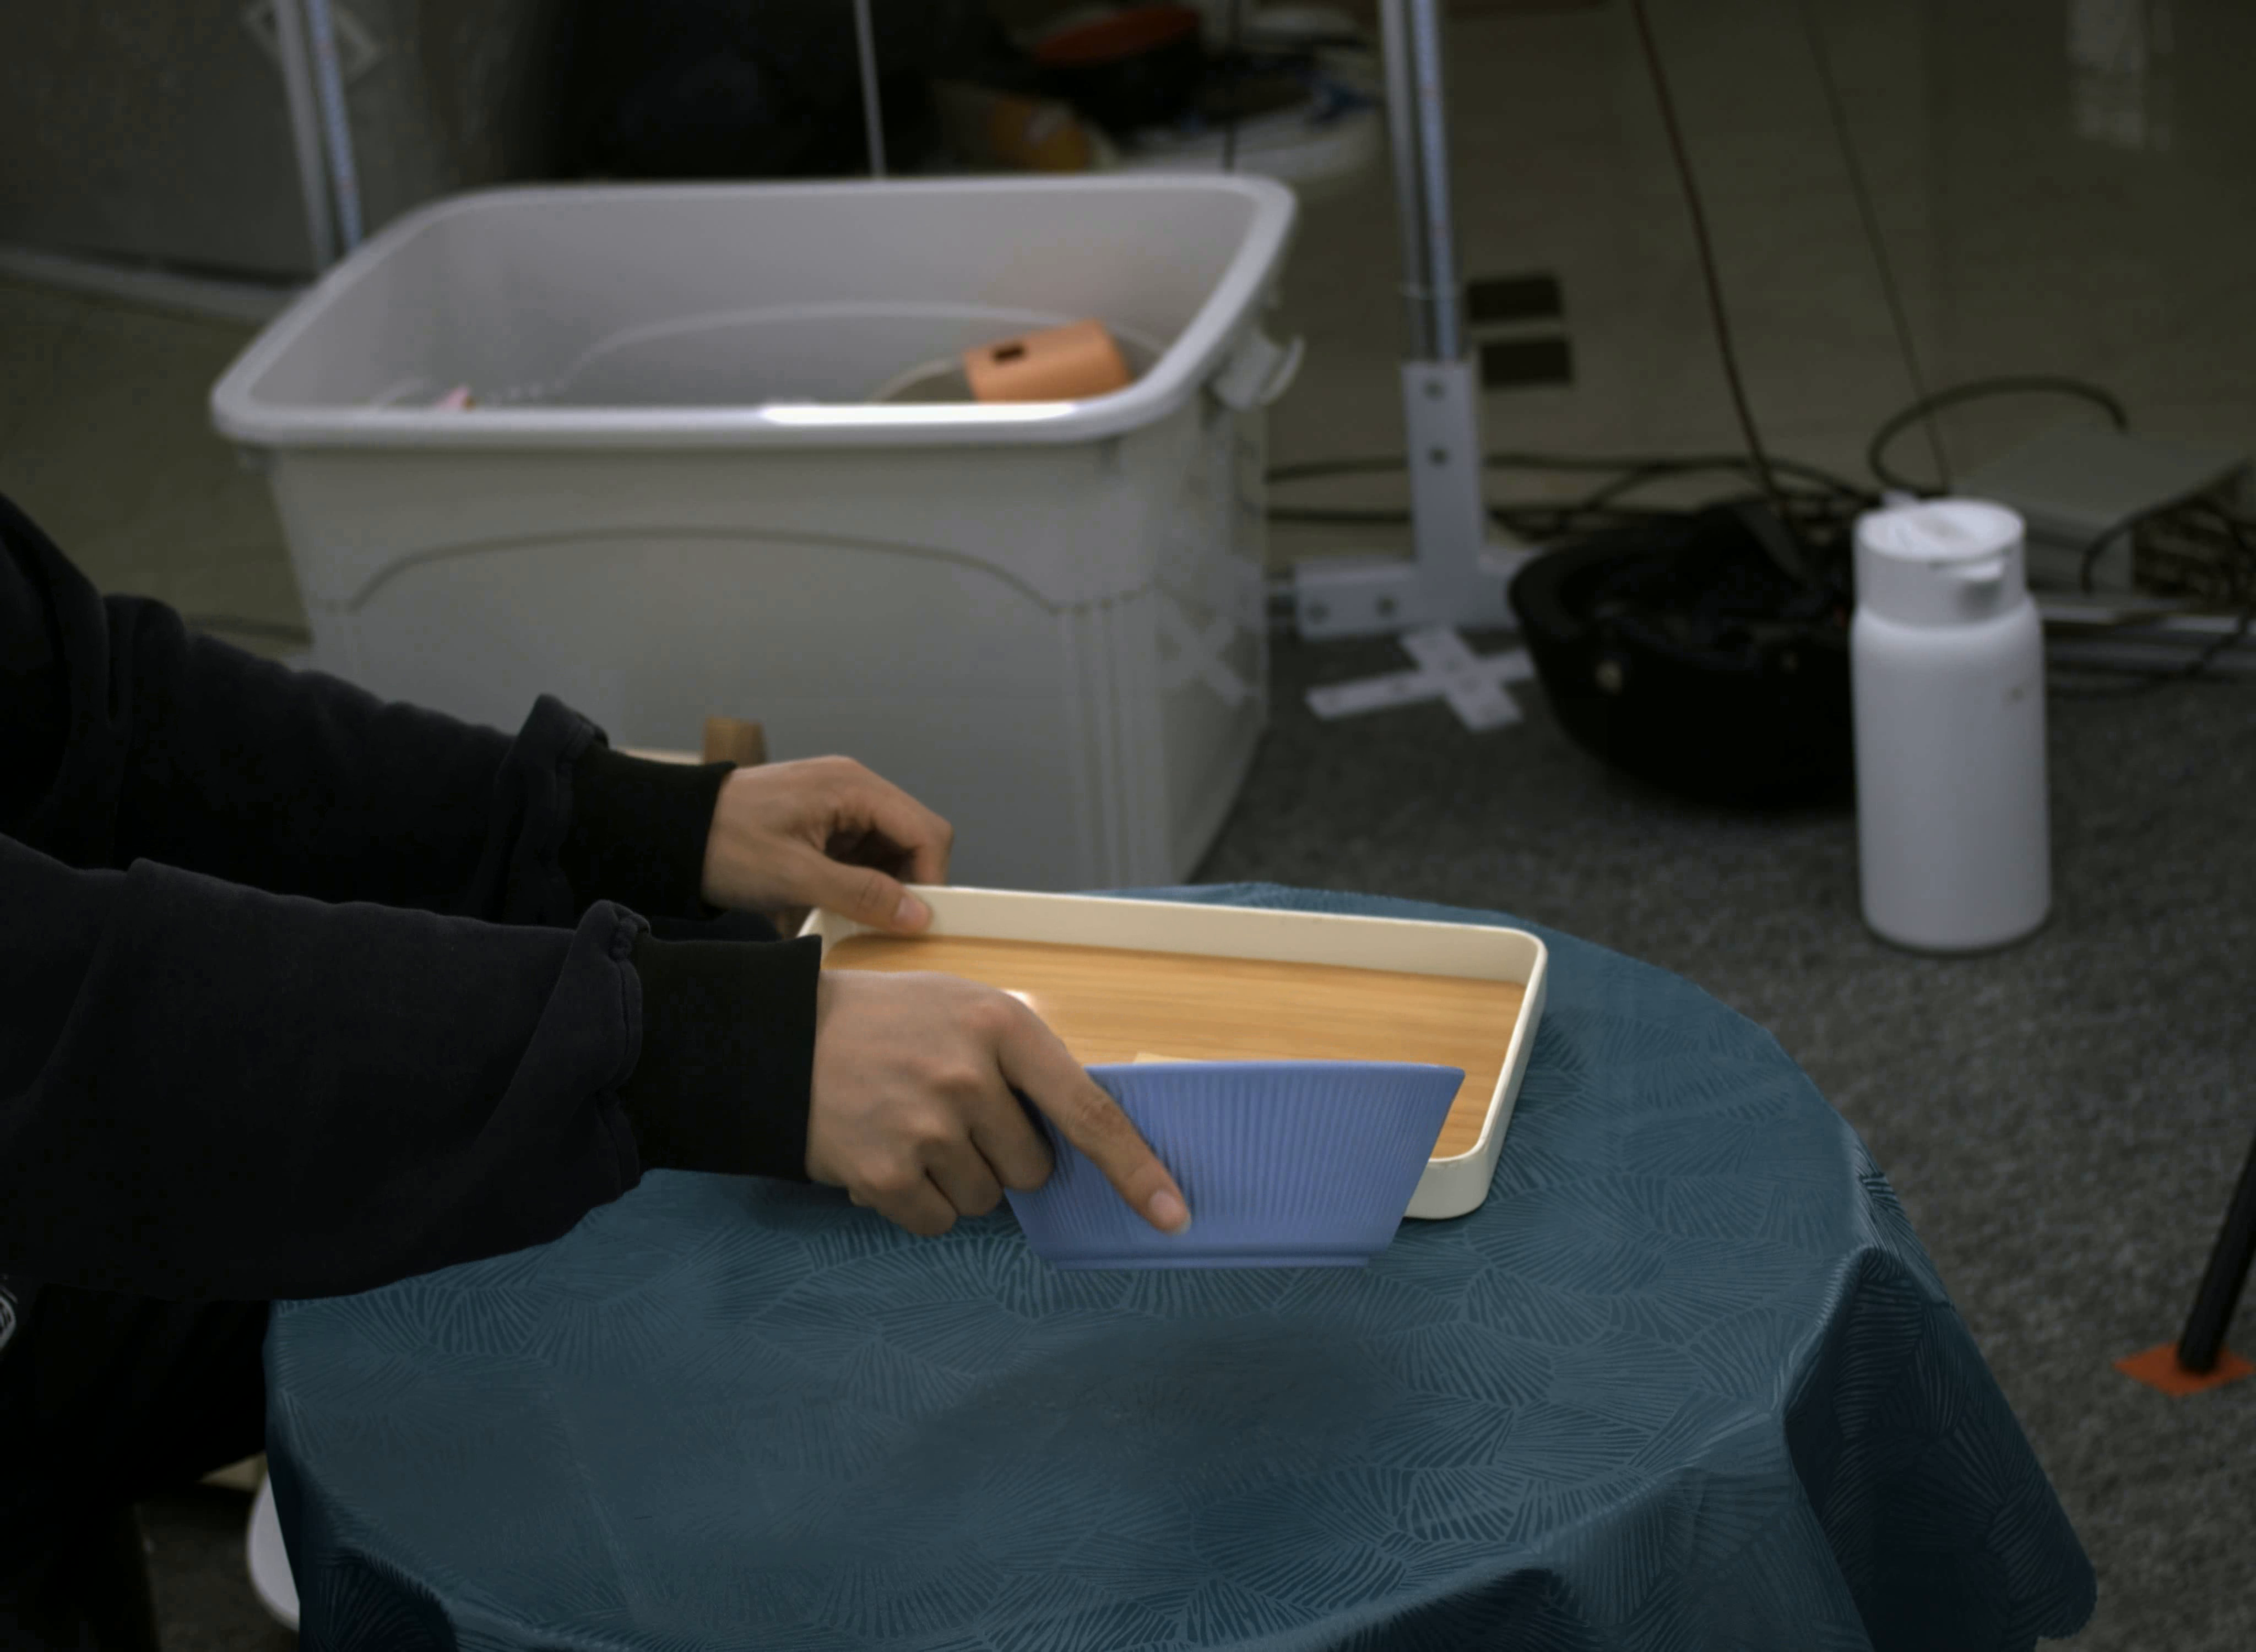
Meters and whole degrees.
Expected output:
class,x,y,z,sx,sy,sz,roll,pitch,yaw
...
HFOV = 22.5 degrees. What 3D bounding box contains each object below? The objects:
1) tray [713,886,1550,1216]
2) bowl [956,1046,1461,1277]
class,x,y,z,sx,sy,sz,roll,pitch,yaw
tray,0.004,0.085,2.204,0.299,0.028,0.189,4,27,11
bowl,0.028,0.118,1.953,0.176,0.070,0.177,0,-7,0
